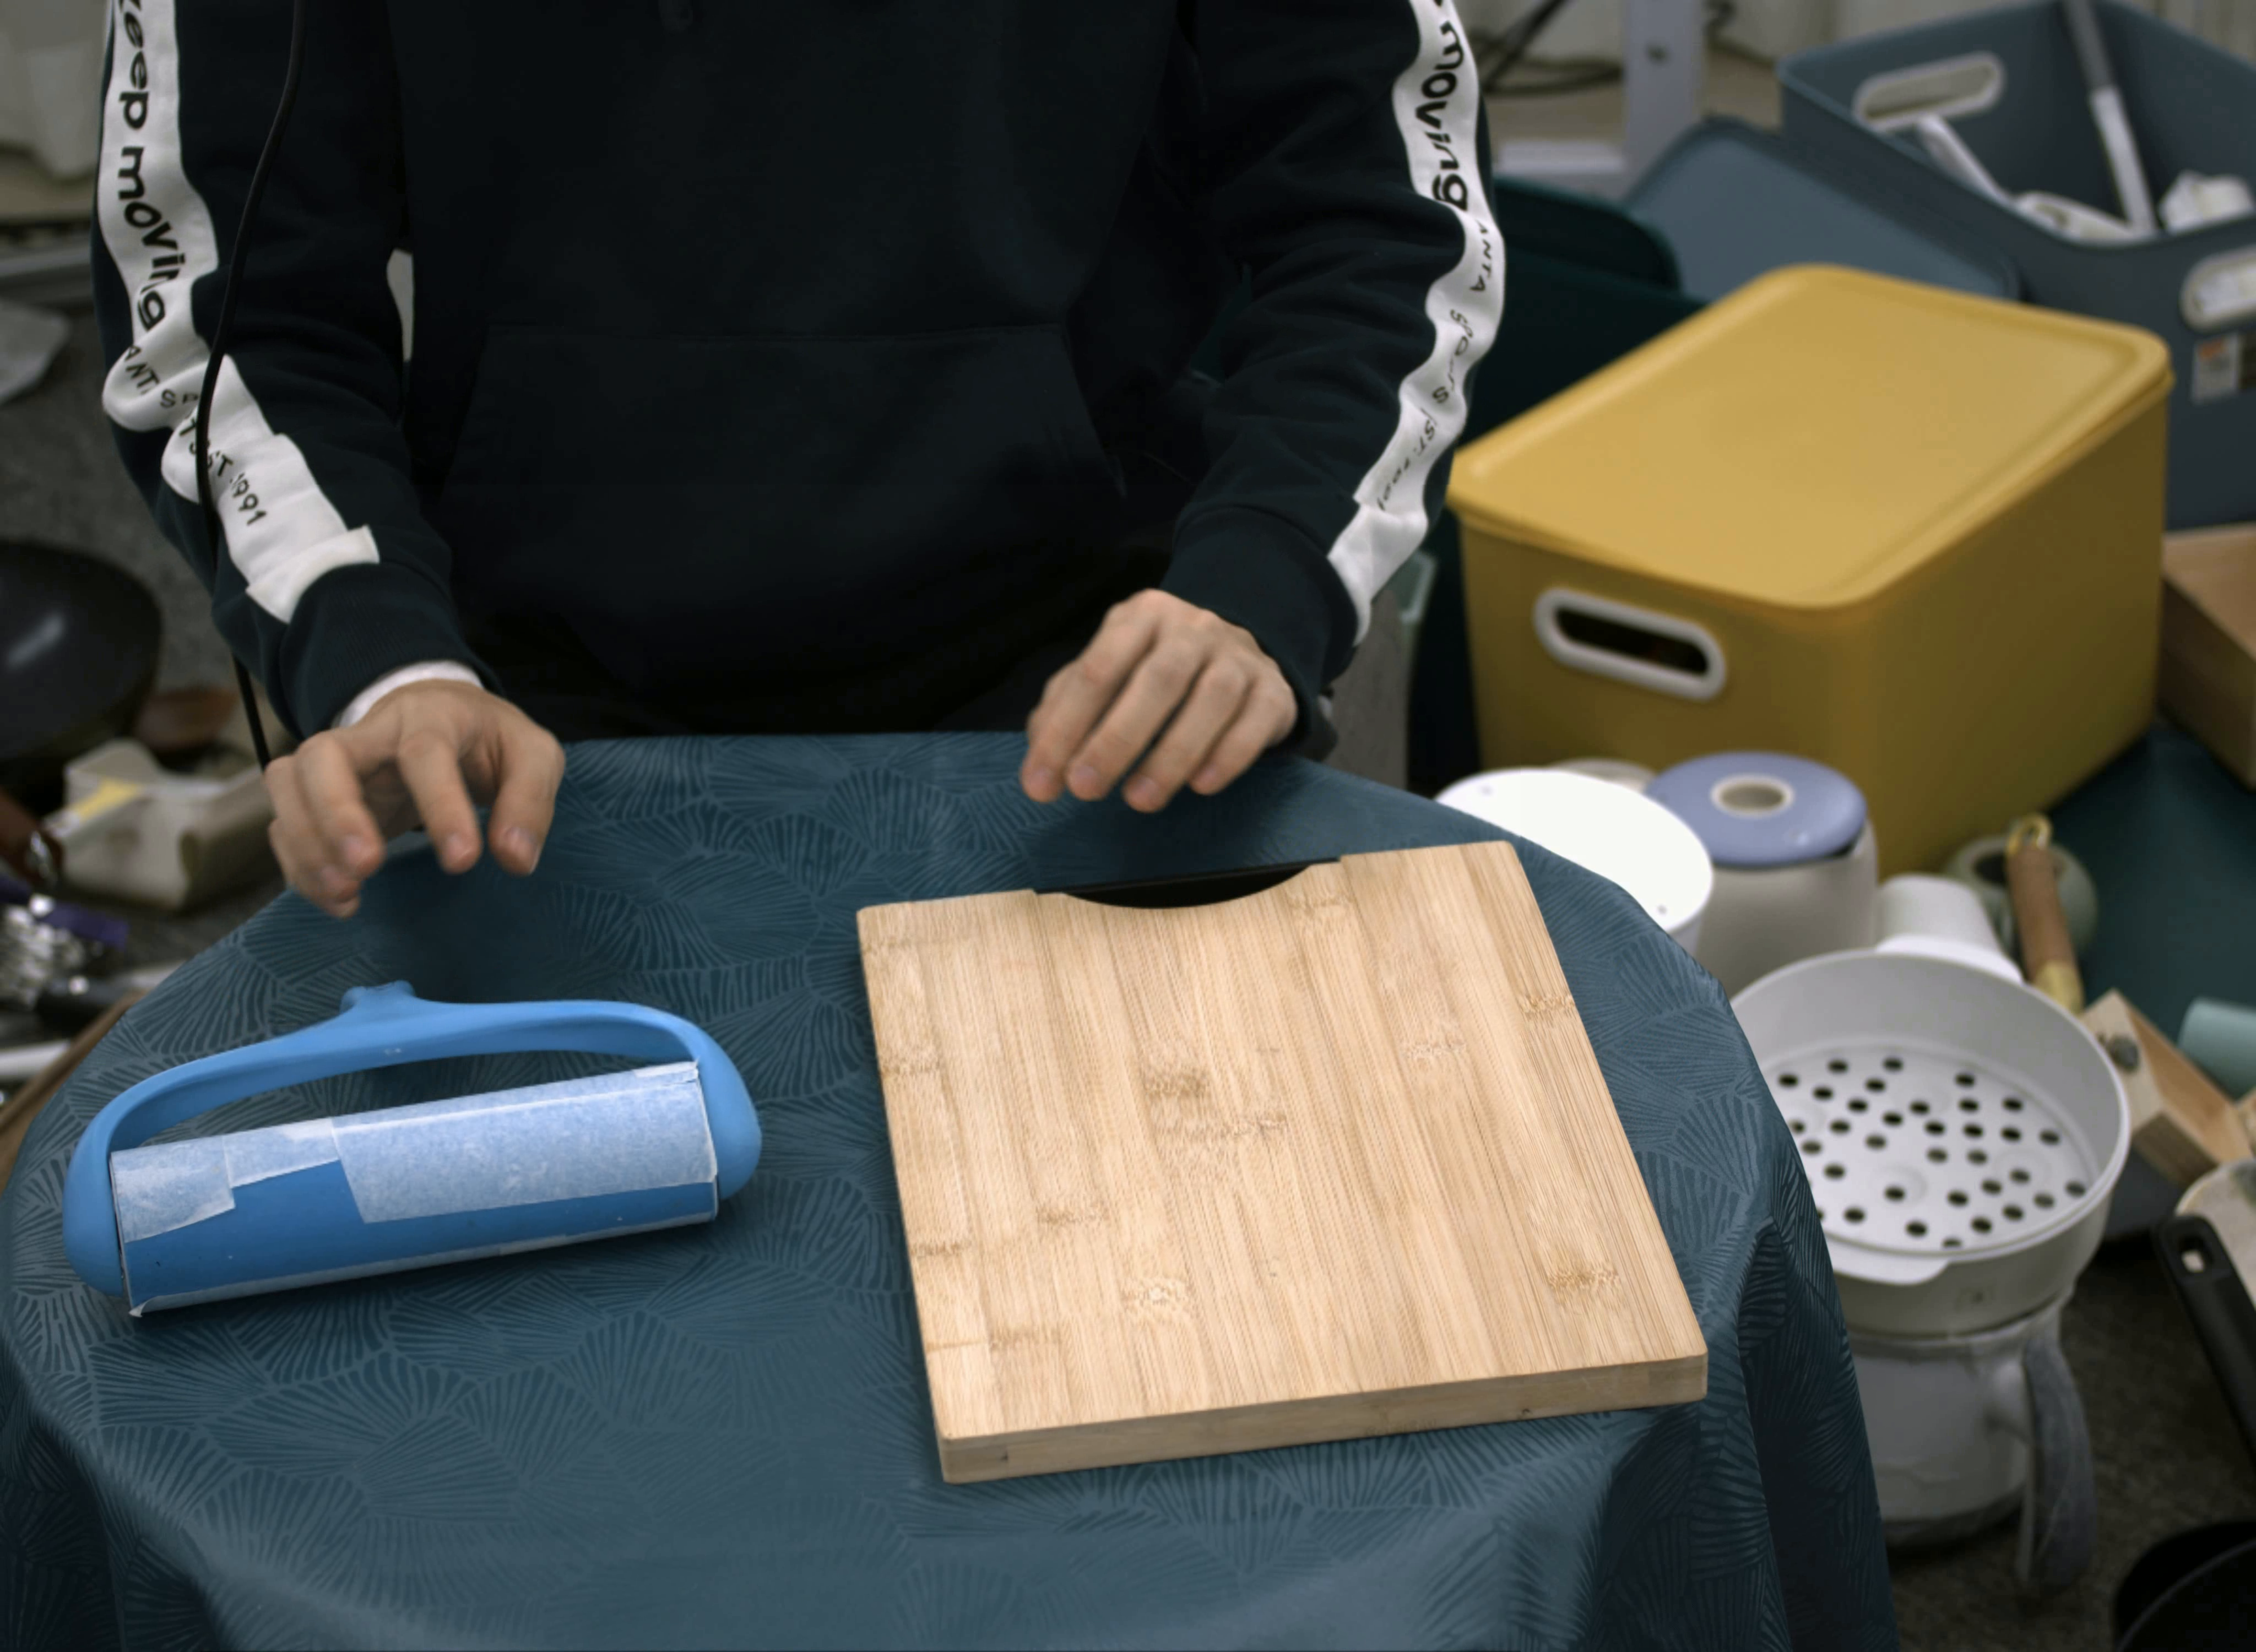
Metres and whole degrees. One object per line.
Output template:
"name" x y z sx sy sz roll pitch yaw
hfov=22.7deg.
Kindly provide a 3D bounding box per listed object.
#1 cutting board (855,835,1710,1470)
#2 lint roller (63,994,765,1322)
"cutting board" 0.041 0.103 1.875 0.250 0.023 0.353 -6 28 -6
"lint roller" -0.247 0.092 1.881 0.229 0.067 0.182 -11 29 -12
